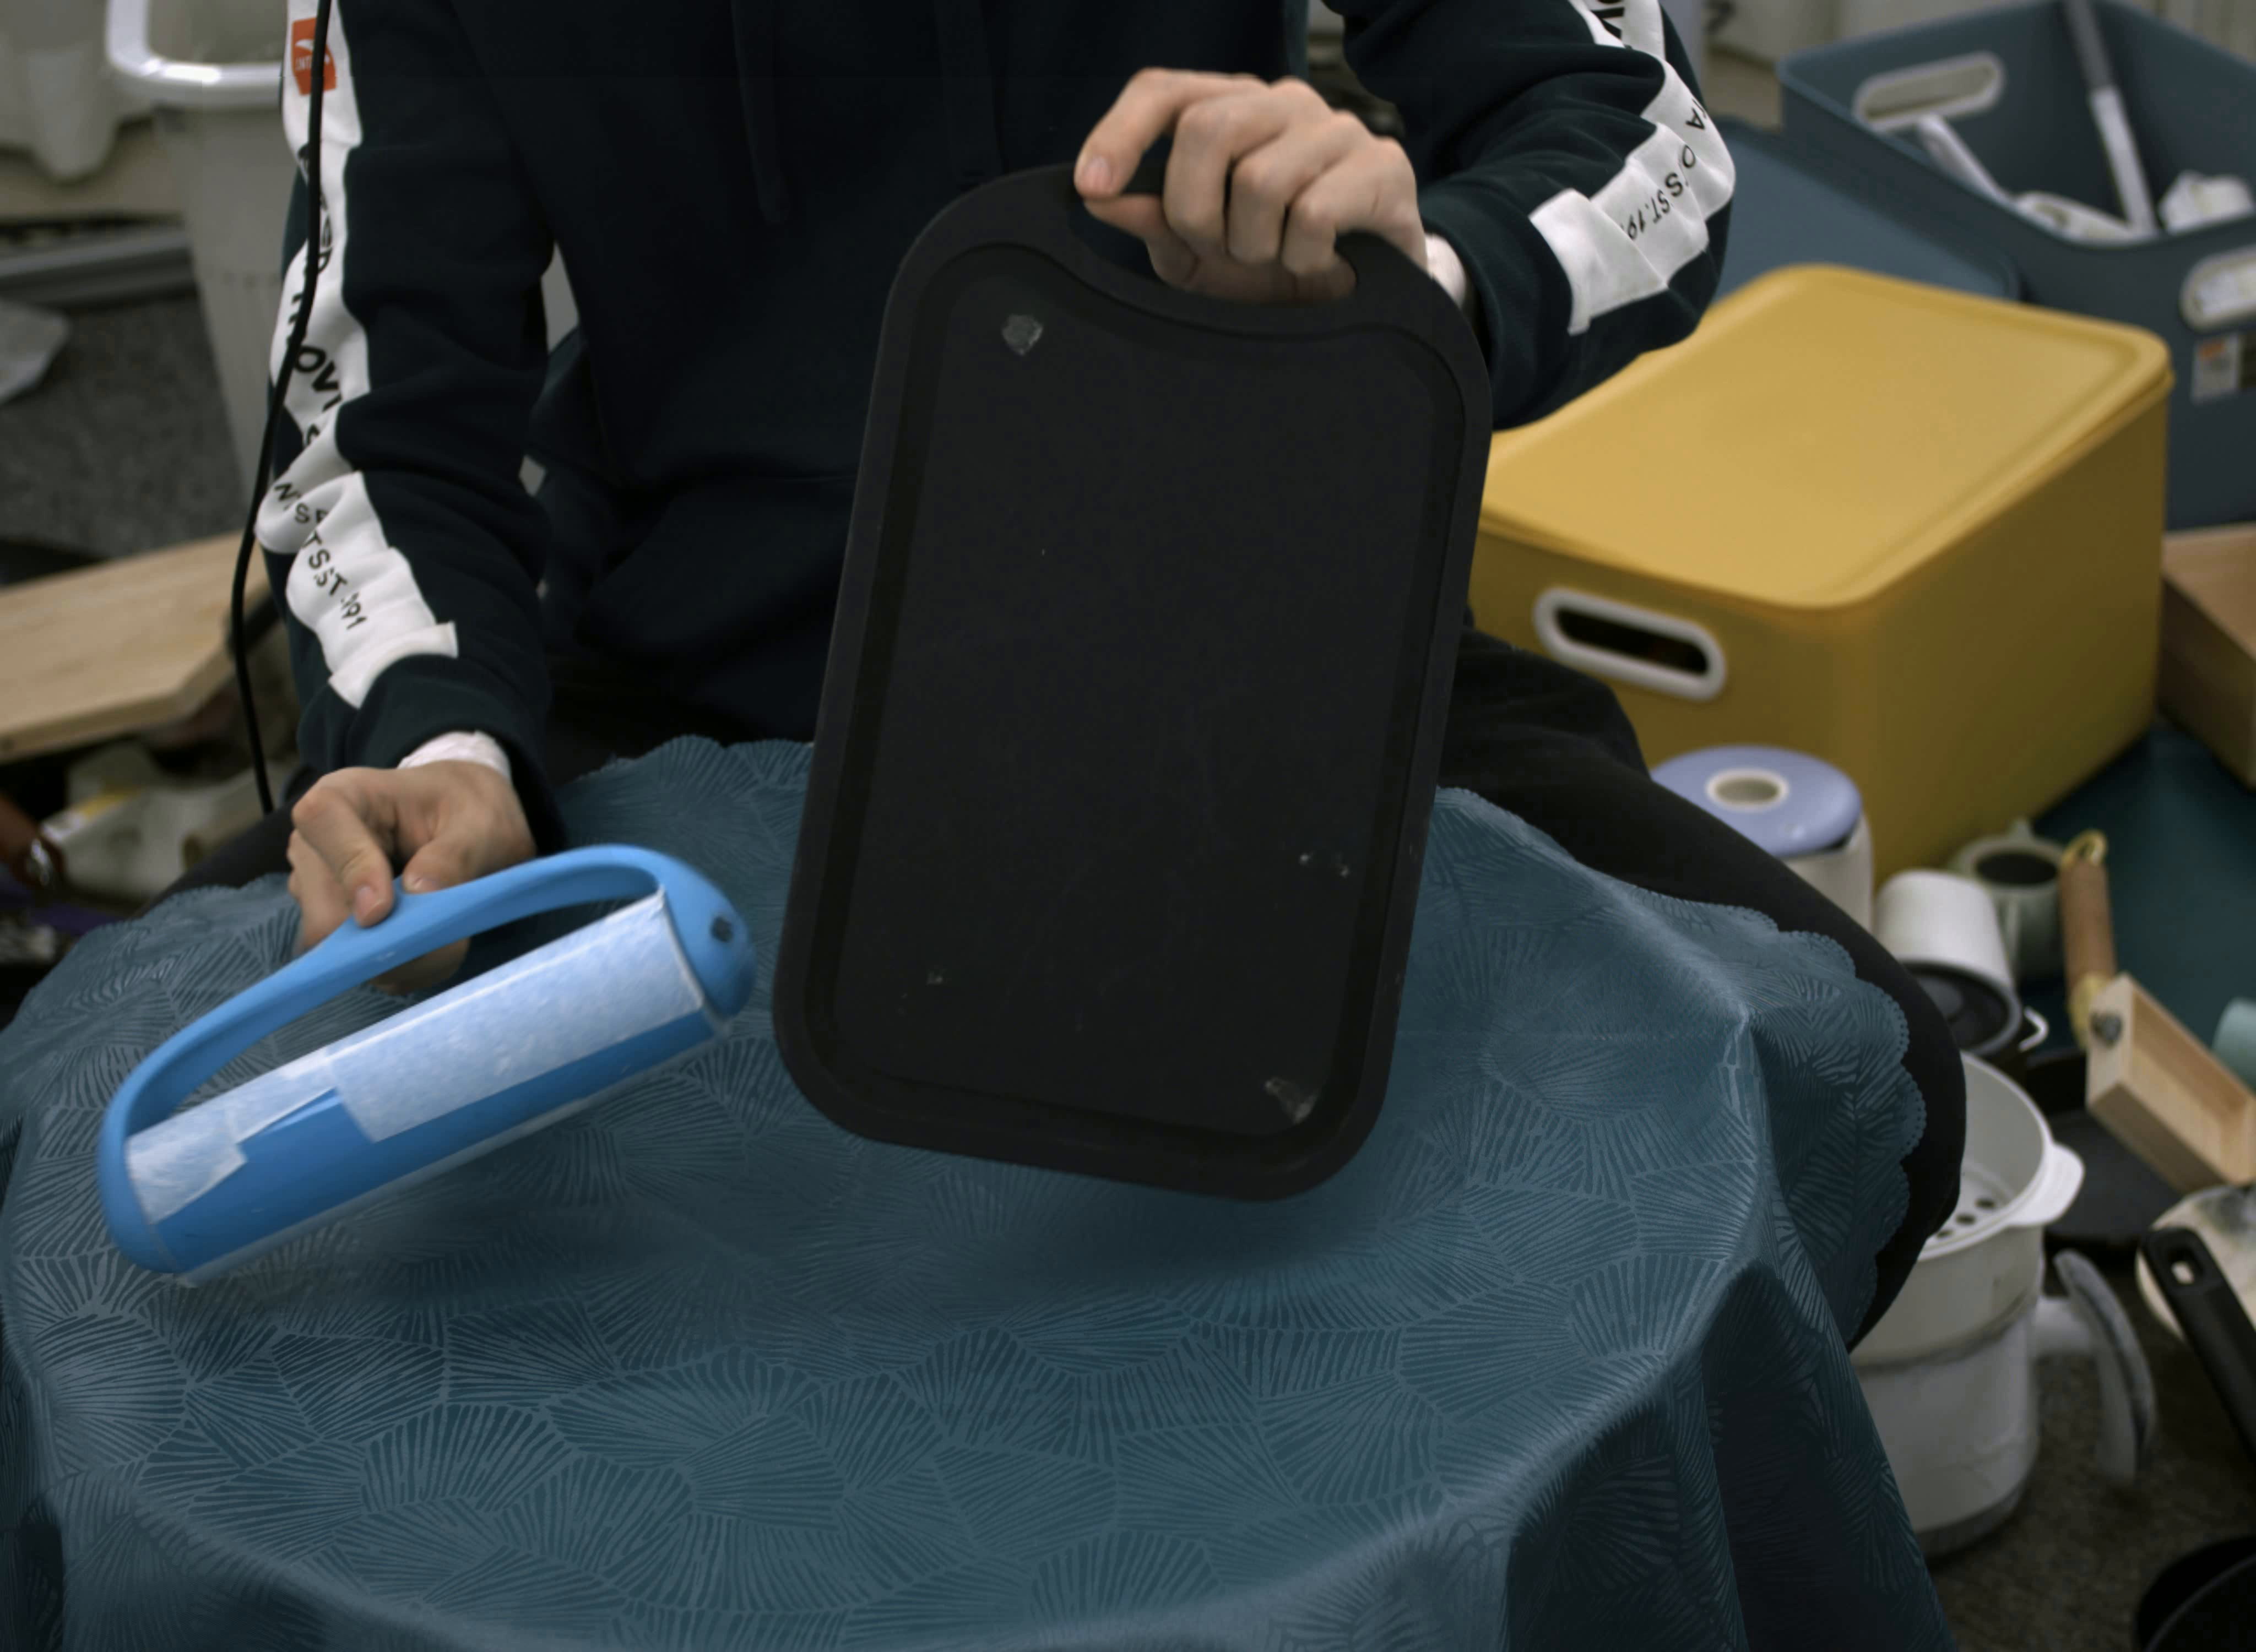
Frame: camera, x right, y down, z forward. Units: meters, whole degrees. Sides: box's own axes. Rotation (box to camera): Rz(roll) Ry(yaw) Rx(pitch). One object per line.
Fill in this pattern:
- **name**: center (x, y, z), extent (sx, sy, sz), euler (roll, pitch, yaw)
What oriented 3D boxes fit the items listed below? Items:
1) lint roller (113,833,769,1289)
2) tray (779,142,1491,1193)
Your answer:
- **lint roller**: center (-0.233, 0.055, 1.857), extent (0.228, 0.067, 0.182), euler (-29, 31, 1)
- **tray**: center (0.006, -0.054, 1.787), extent (0.211, 0.328, 0.010), euler (11, -6, -21)
